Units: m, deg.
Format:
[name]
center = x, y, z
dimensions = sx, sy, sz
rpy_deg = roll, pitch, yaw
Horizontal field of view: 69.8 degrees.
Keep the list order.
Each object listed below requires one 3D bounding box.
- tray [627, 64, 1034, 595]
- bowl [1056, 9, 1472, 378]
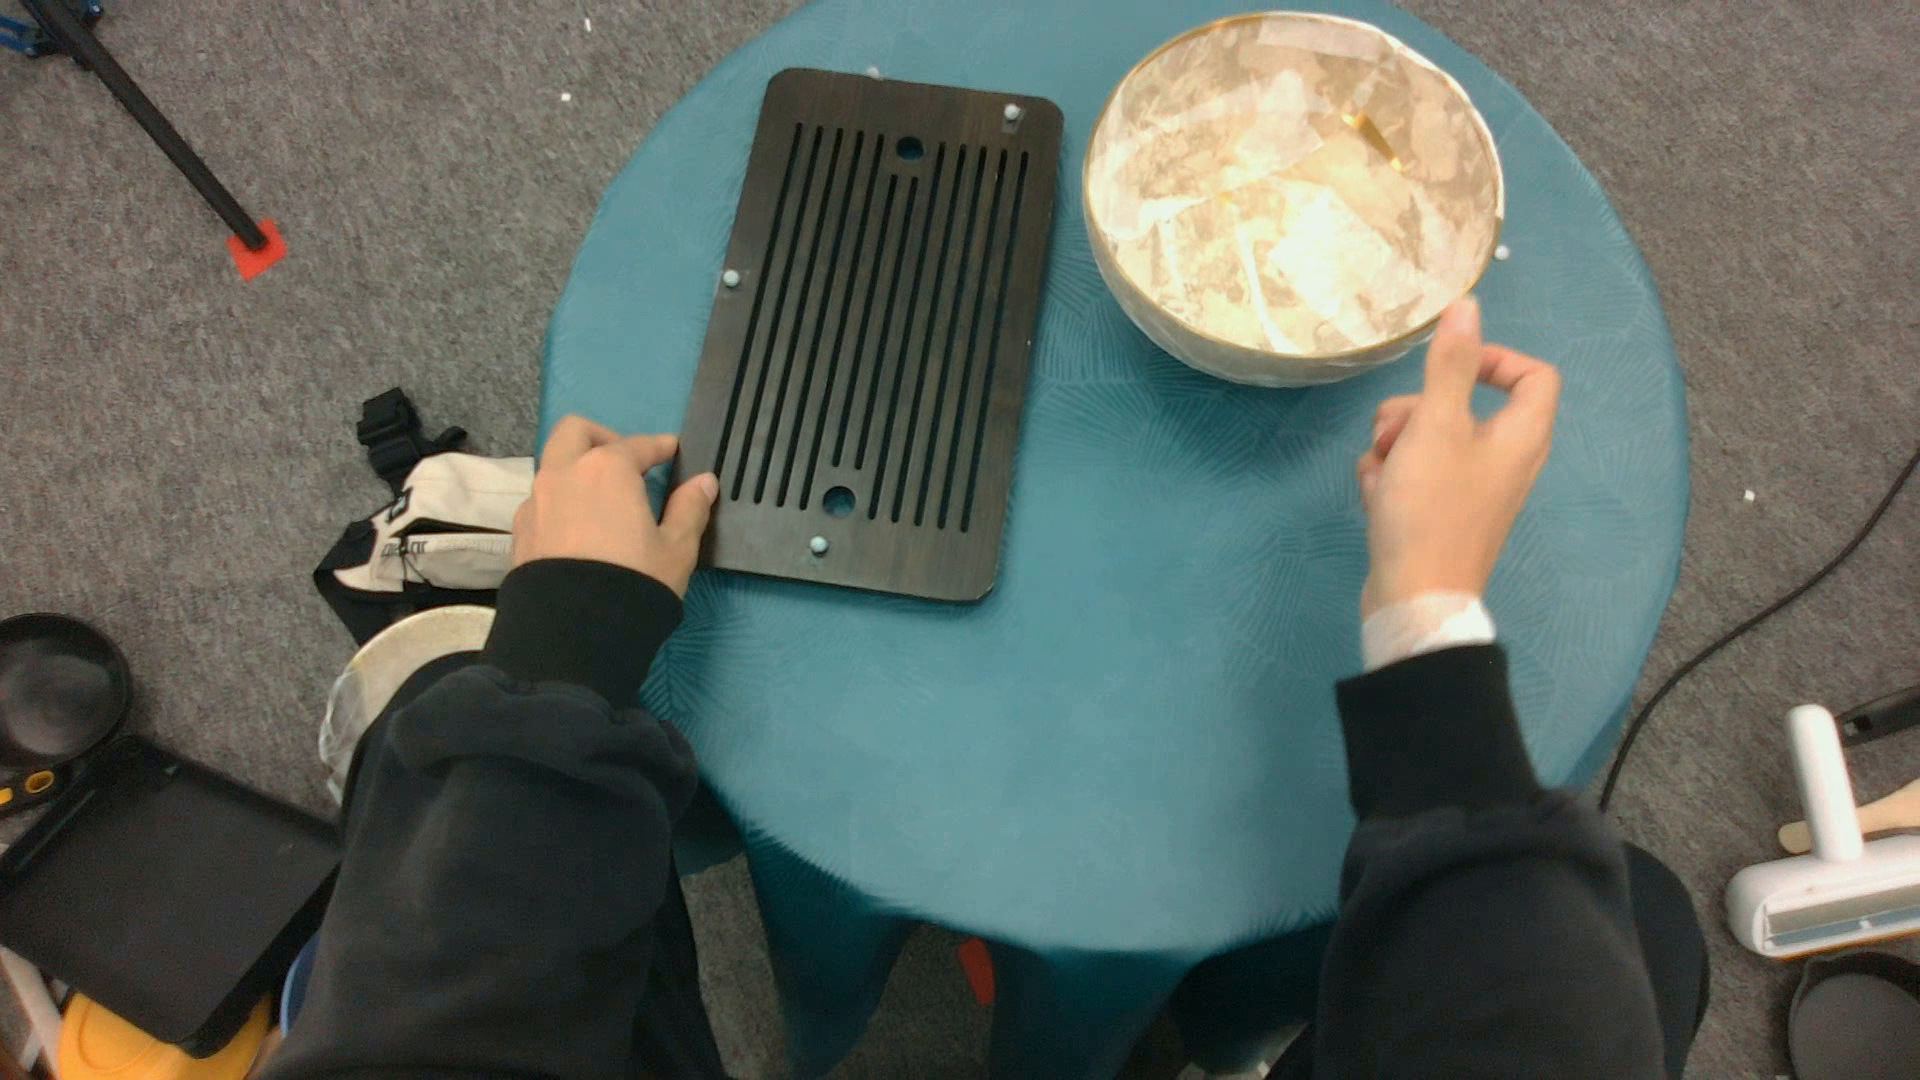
[tray]
center = -0.061, -0.121, 0.729
dimensions = 0.170, 0.018, 0.307
rpy_deg = 8, 67, 2
[bowl]
center = 0.144, -0.163, 0.710
dimensions = 0.215, 0.094, 0.215
rpy_deg = 1, 68, -2
